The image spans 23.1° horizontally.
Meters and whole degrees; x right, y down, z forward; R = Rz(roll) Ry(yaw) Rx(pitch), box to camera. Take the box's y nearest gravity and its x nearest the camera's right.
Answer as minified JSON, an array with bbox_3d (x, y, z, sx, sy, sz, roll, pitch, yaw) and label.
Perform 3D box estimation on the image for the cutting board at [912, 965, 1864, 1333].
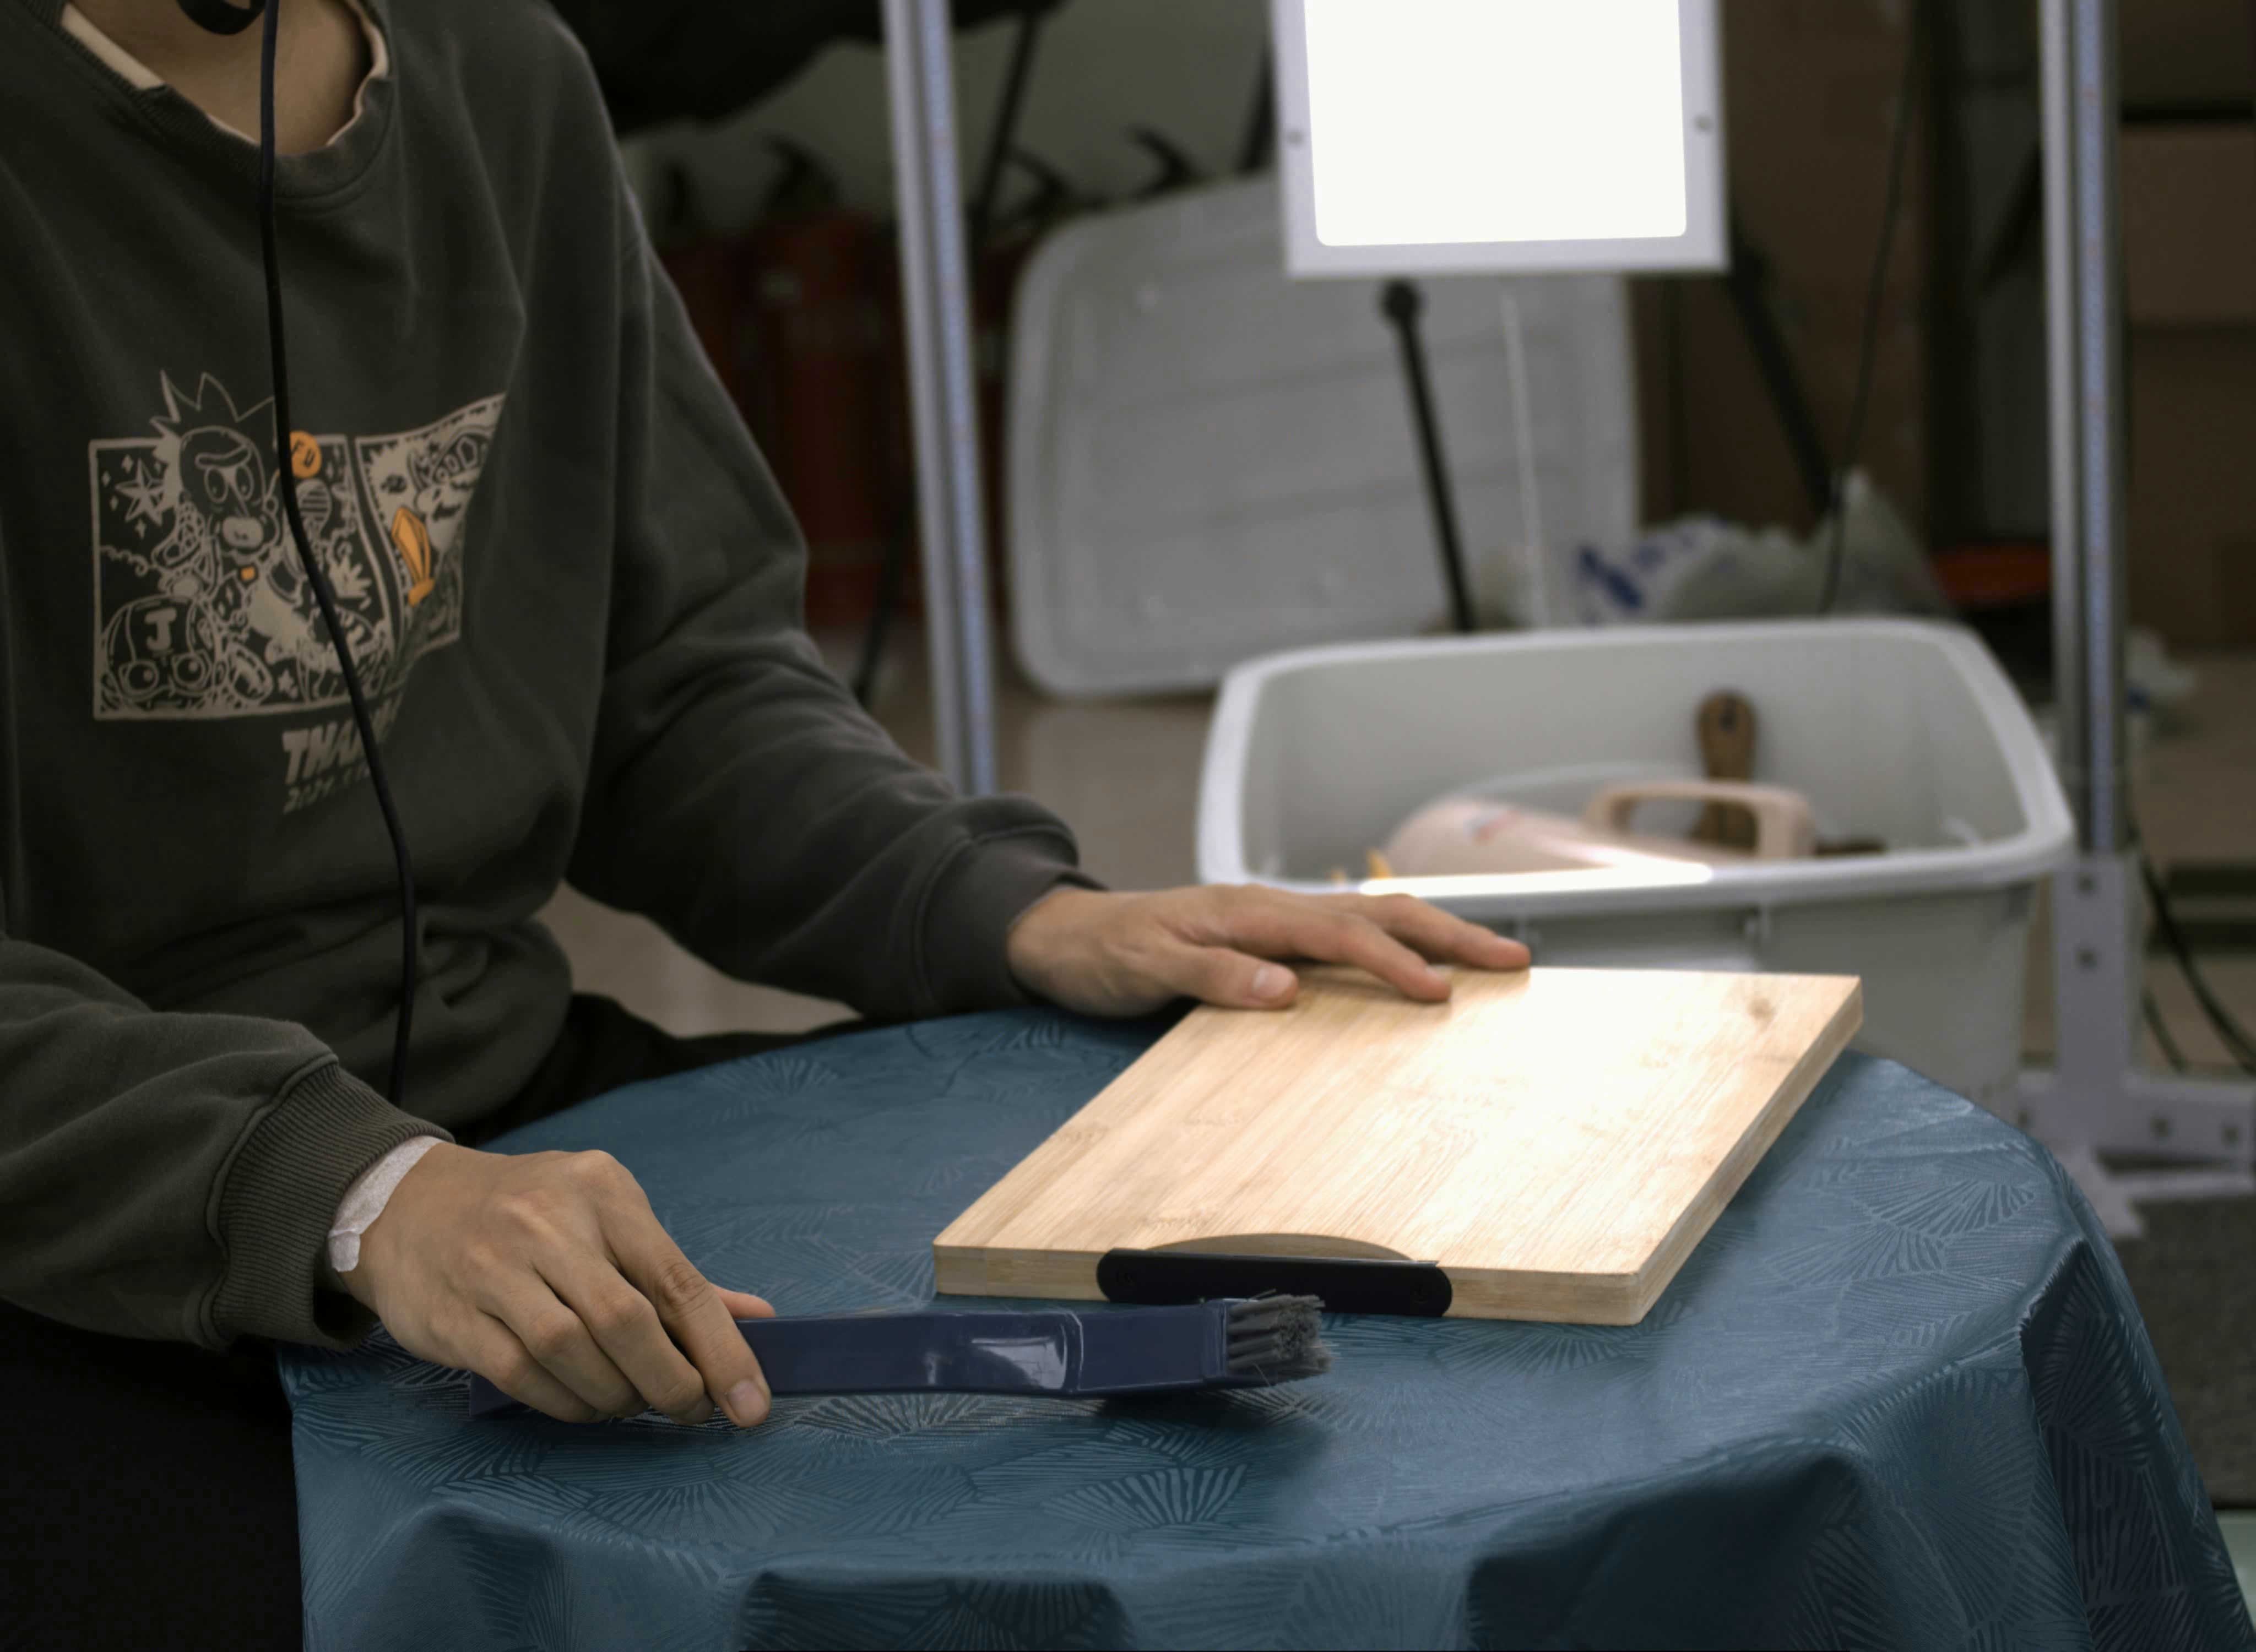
[{"bbox_3d":[0.101,0.107,1.907,0.254,0.023,0.342,-1,14,20],"label":"cutting board"}]

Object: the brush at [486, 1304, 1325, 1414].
[{"bbox_3d":[-0.075,0.160,1.686,0.275,0.033,0.095,-2,-12,14],"label":"brush"}]
